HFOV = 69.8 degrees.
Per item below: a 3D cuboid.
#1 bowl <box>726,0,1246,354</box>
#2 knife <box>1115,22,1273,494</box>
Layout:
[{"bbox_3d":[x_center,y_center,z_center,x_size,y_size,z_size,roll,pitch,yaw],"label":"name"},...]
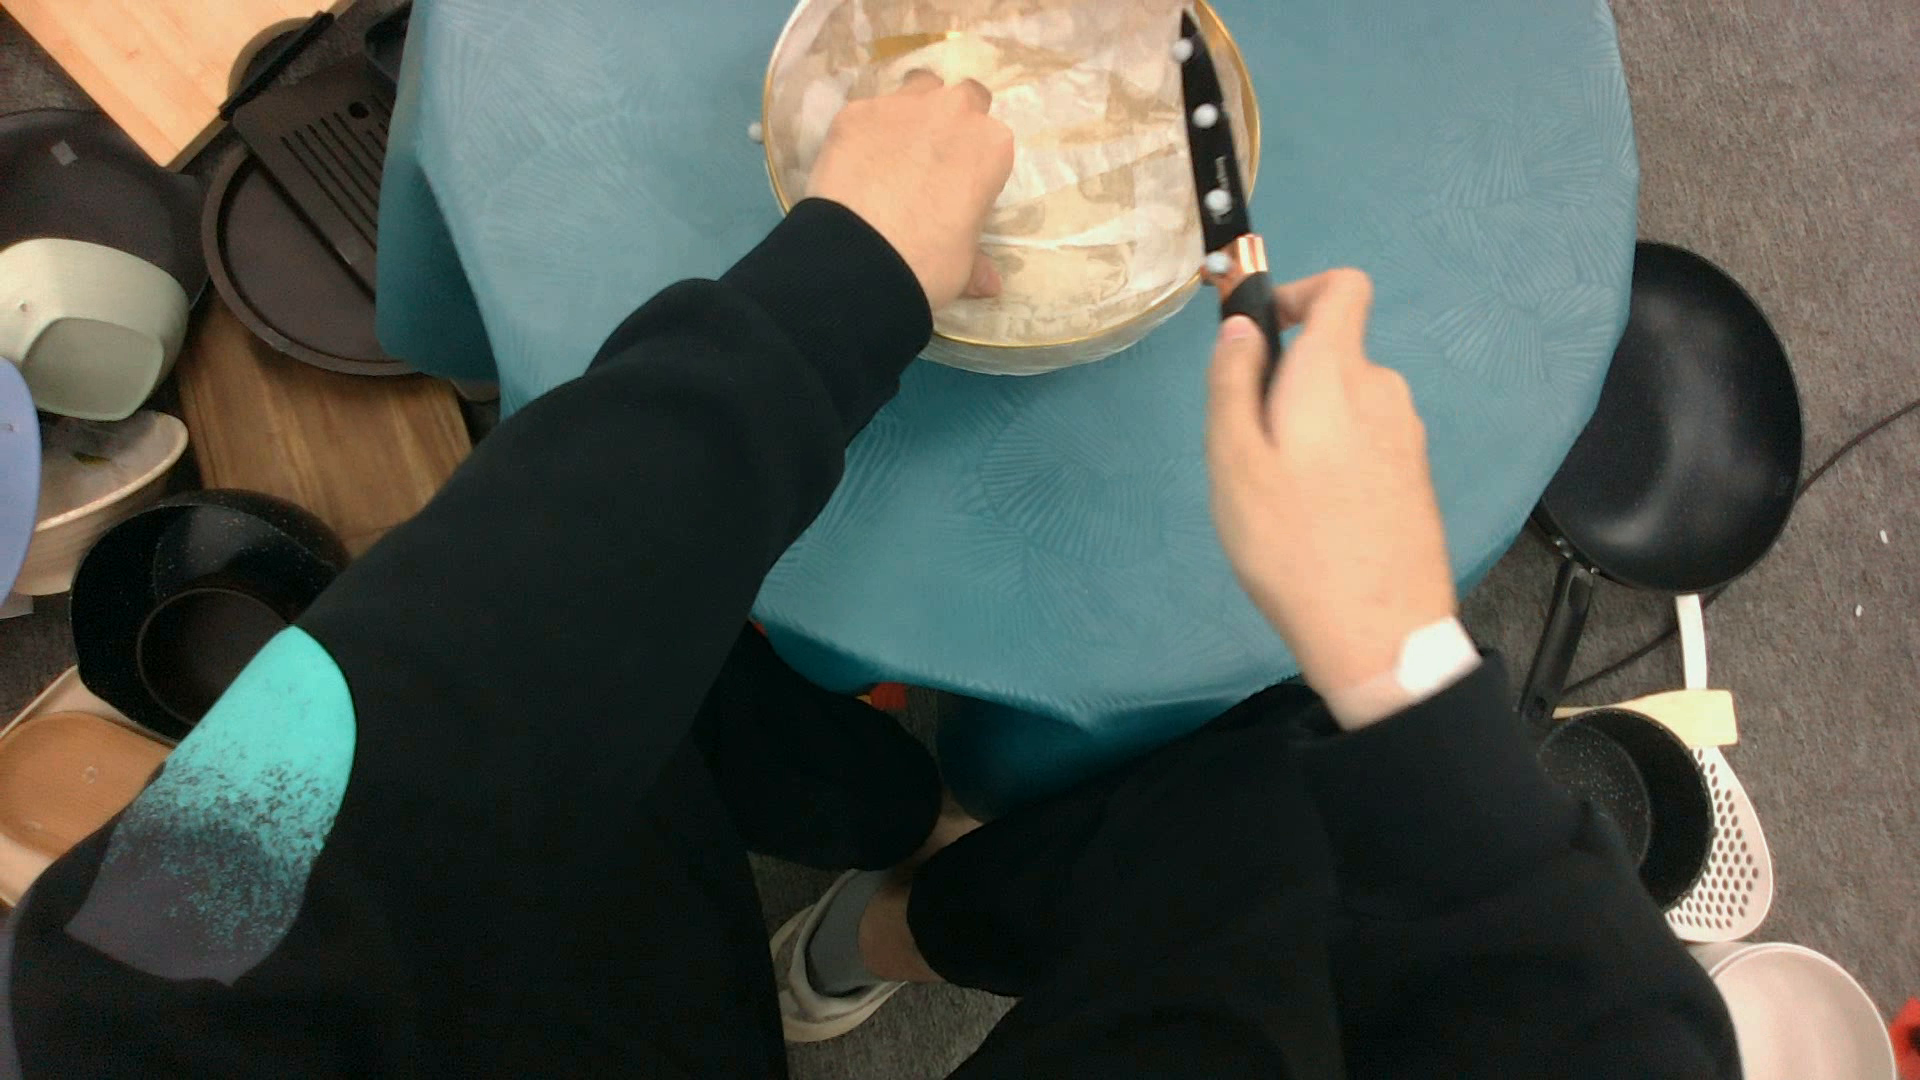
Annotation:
[{"bbox_3d":[0.010,-0.159,0.592,0.215,0.094,0.215,1,71,-2],"label":"bowl"},{"bbox_3d":[0.084,-0.115,0.514,0.017,0.026,0.226,8,59,-31],"label":"knife"}]
